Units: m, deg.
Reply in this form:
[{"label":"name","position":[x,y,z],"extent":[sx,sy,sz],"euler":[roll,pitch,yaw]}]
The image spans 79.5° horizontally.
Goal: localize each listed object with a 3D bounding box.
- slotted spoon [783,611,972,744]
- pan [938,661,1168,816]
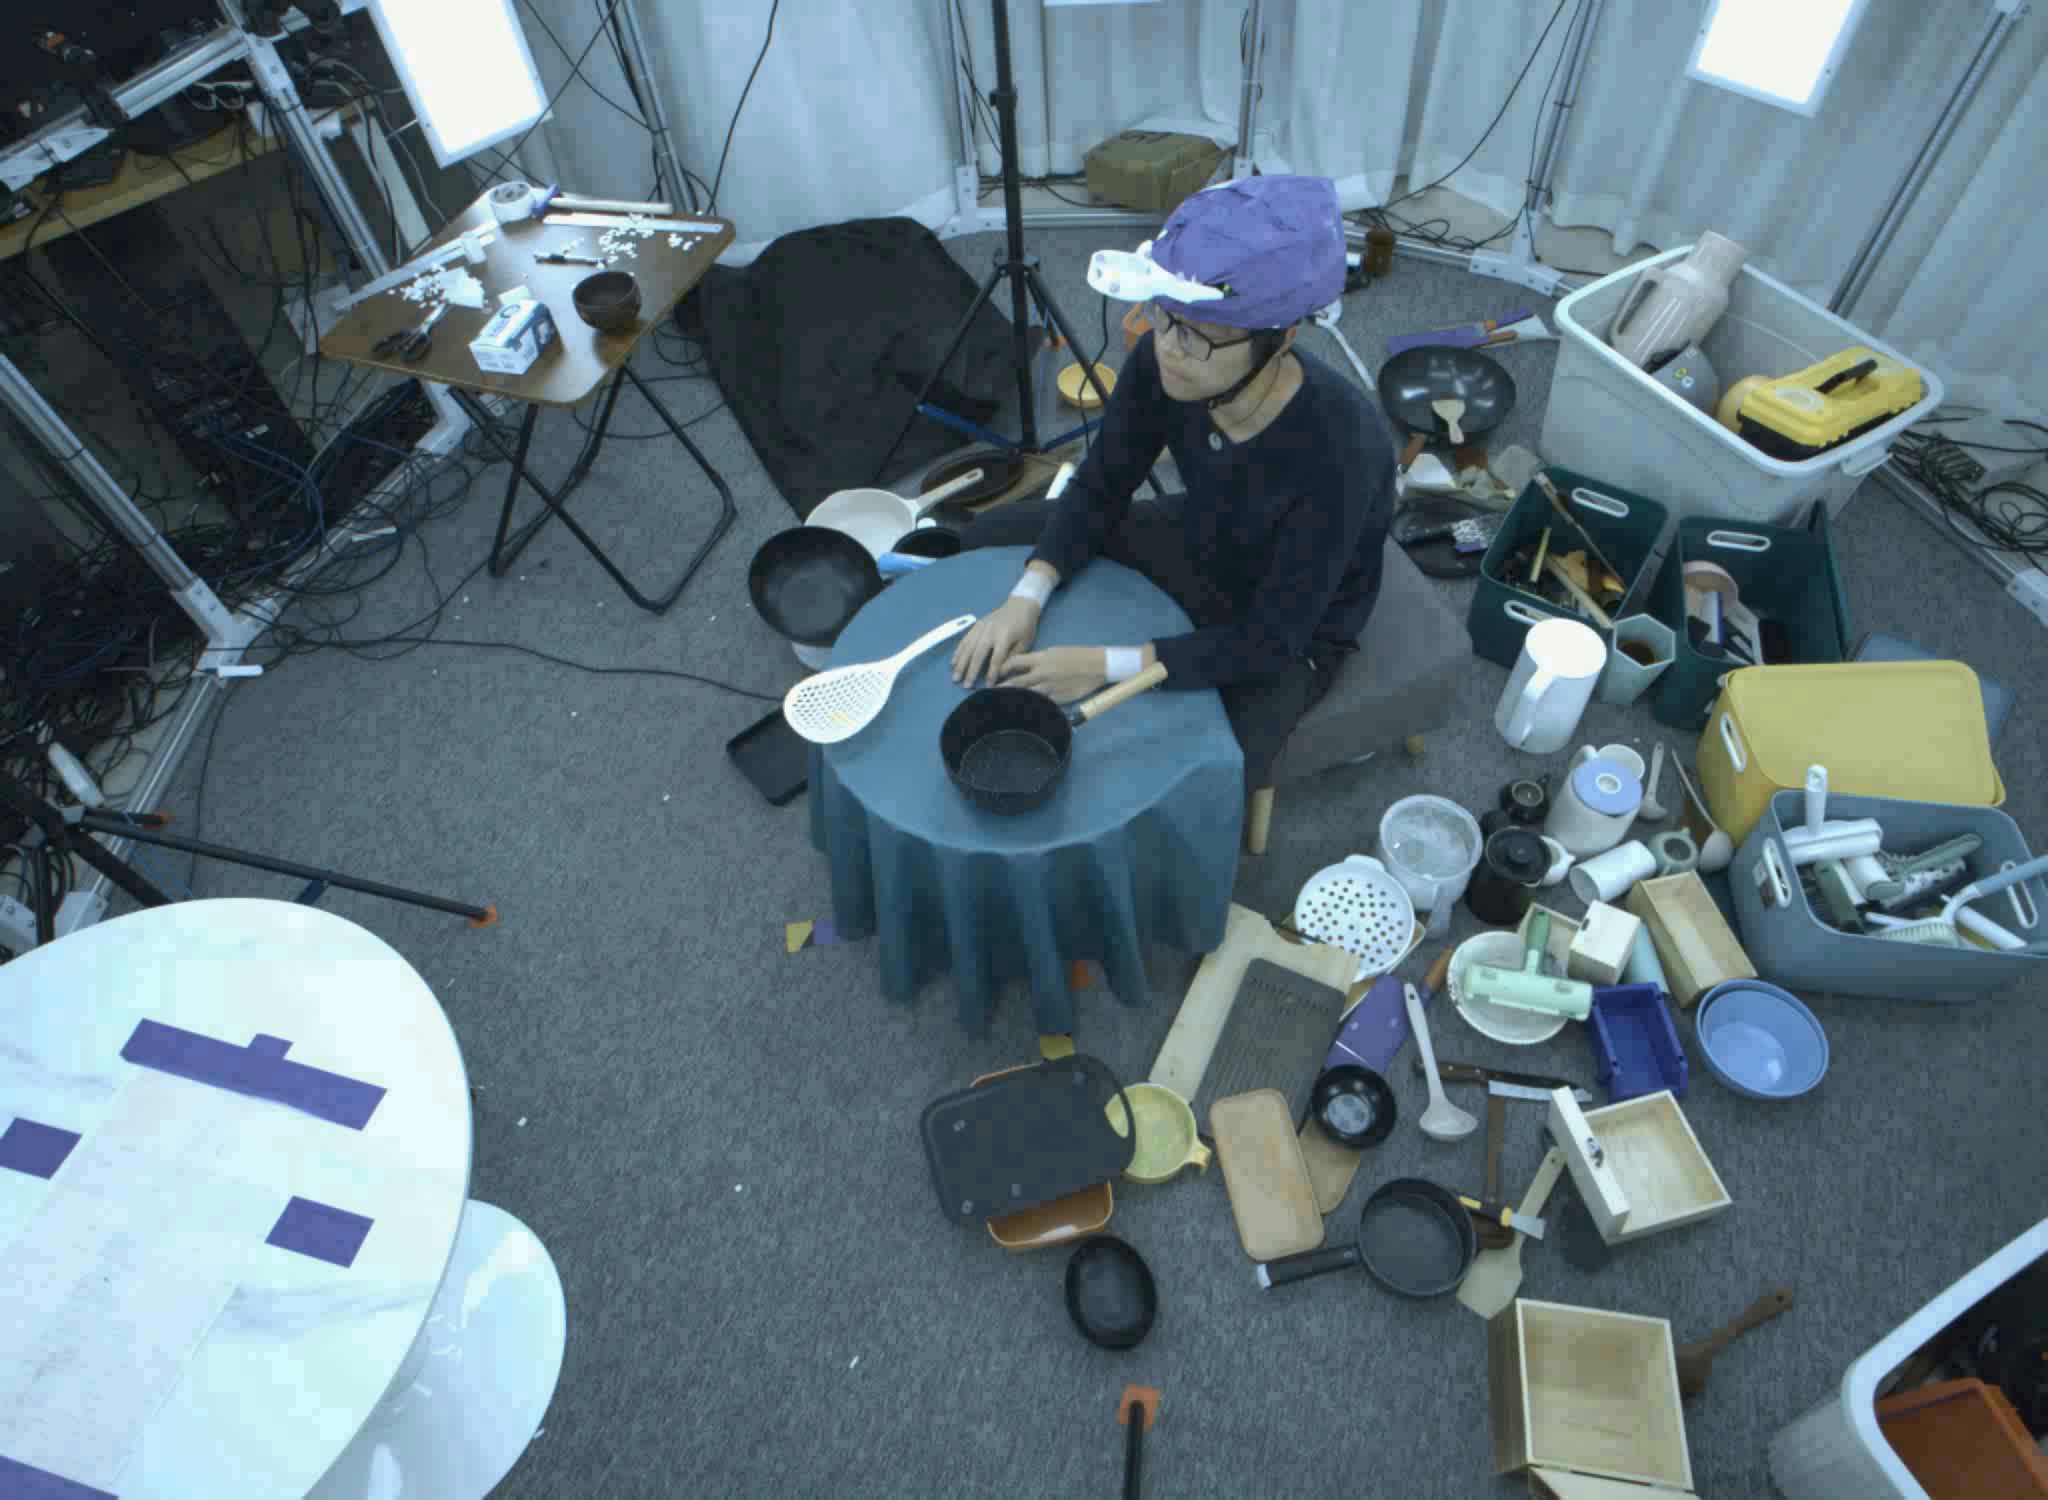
[{"label":"slotted spoon","position":[-0.206,-0.120,1.853],"extent":[0.350,0.051,0.134],"euler":[-40,61,-21]},{"label":"pan","position":[0.047,-0.030,1.740],"extent":[0.345,0.109,0.203],"euler":[-24,56,-12]}]
